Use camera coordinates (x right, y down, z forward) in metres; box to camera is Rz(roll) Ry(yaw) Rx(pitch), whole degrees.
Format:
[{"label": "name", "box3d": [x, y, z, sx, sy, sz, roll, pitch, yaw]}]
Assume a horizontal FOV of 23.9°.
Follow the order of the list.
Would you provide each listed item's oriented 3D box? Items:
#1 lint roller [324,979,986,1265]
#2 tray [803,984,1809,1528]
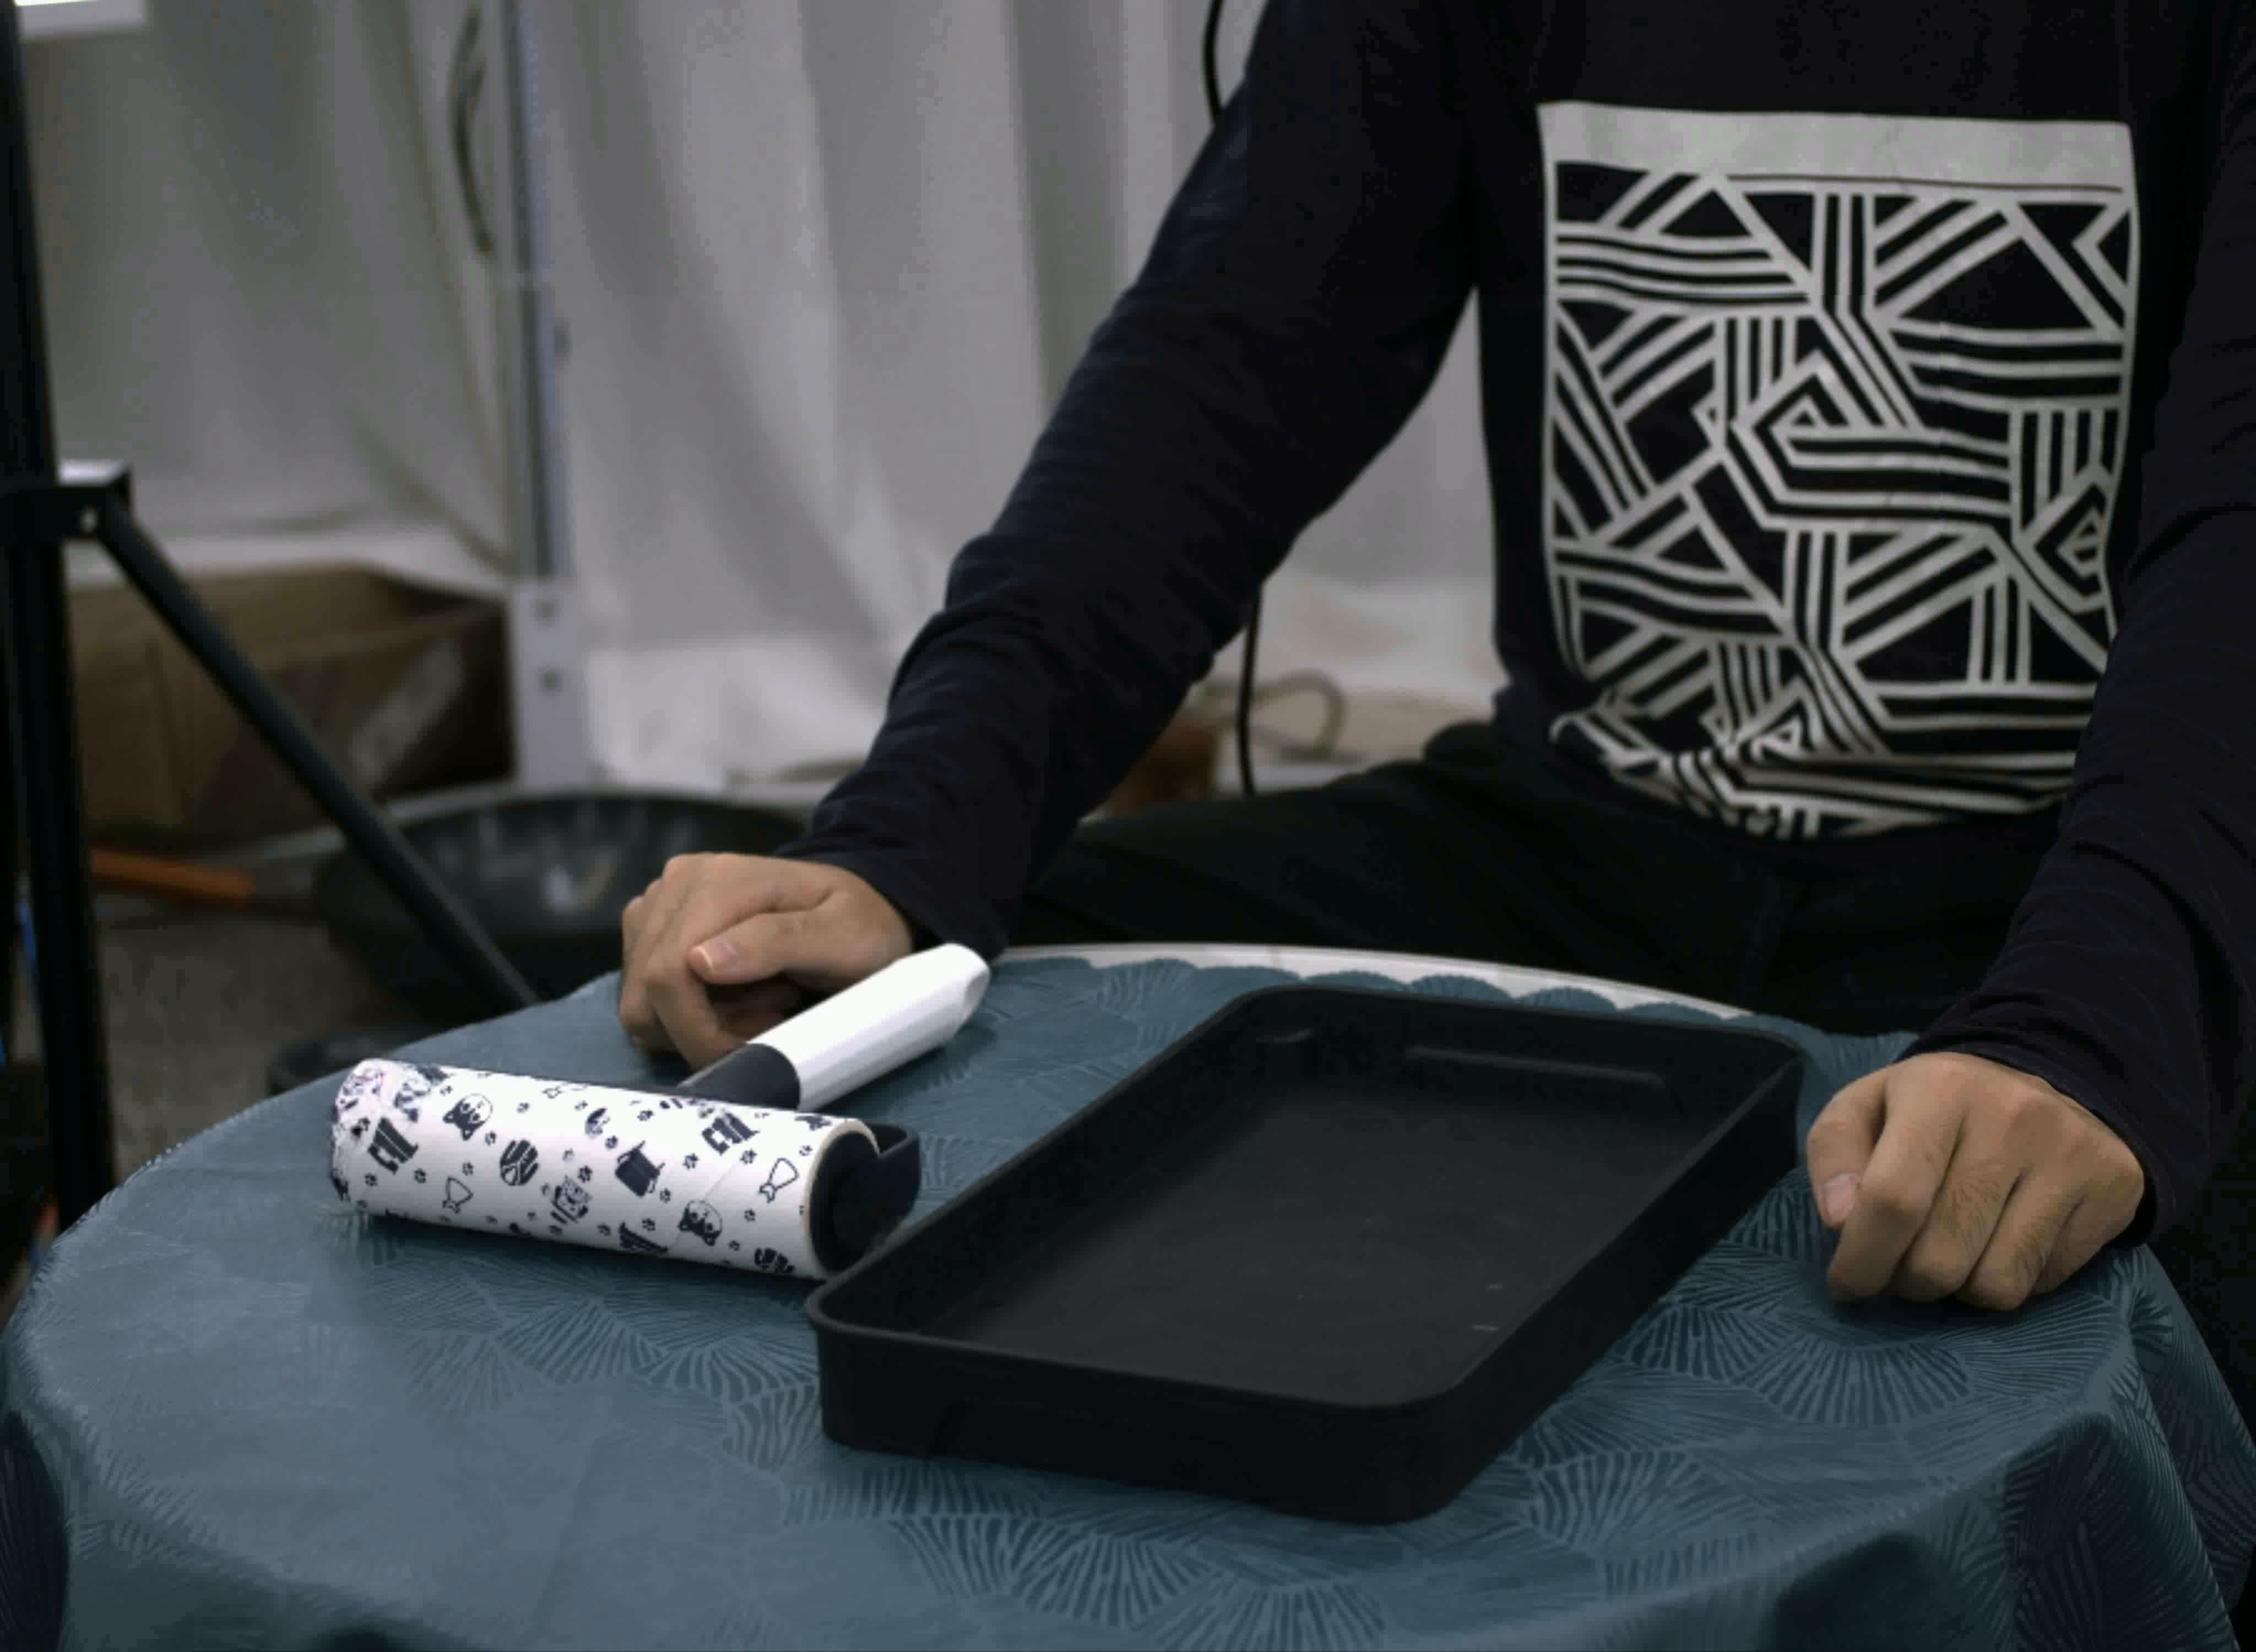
[{"label": "lint roller", "box3d": [-0.108, 0.076, 1.622, 0.179, 0.050, 0.243, 4, 14, 26]}, {"label": "tray", "box3d": [0.058, 0.112, 1.475, 0.187, 0.037, 0.313, 6, 17, 26]}]
